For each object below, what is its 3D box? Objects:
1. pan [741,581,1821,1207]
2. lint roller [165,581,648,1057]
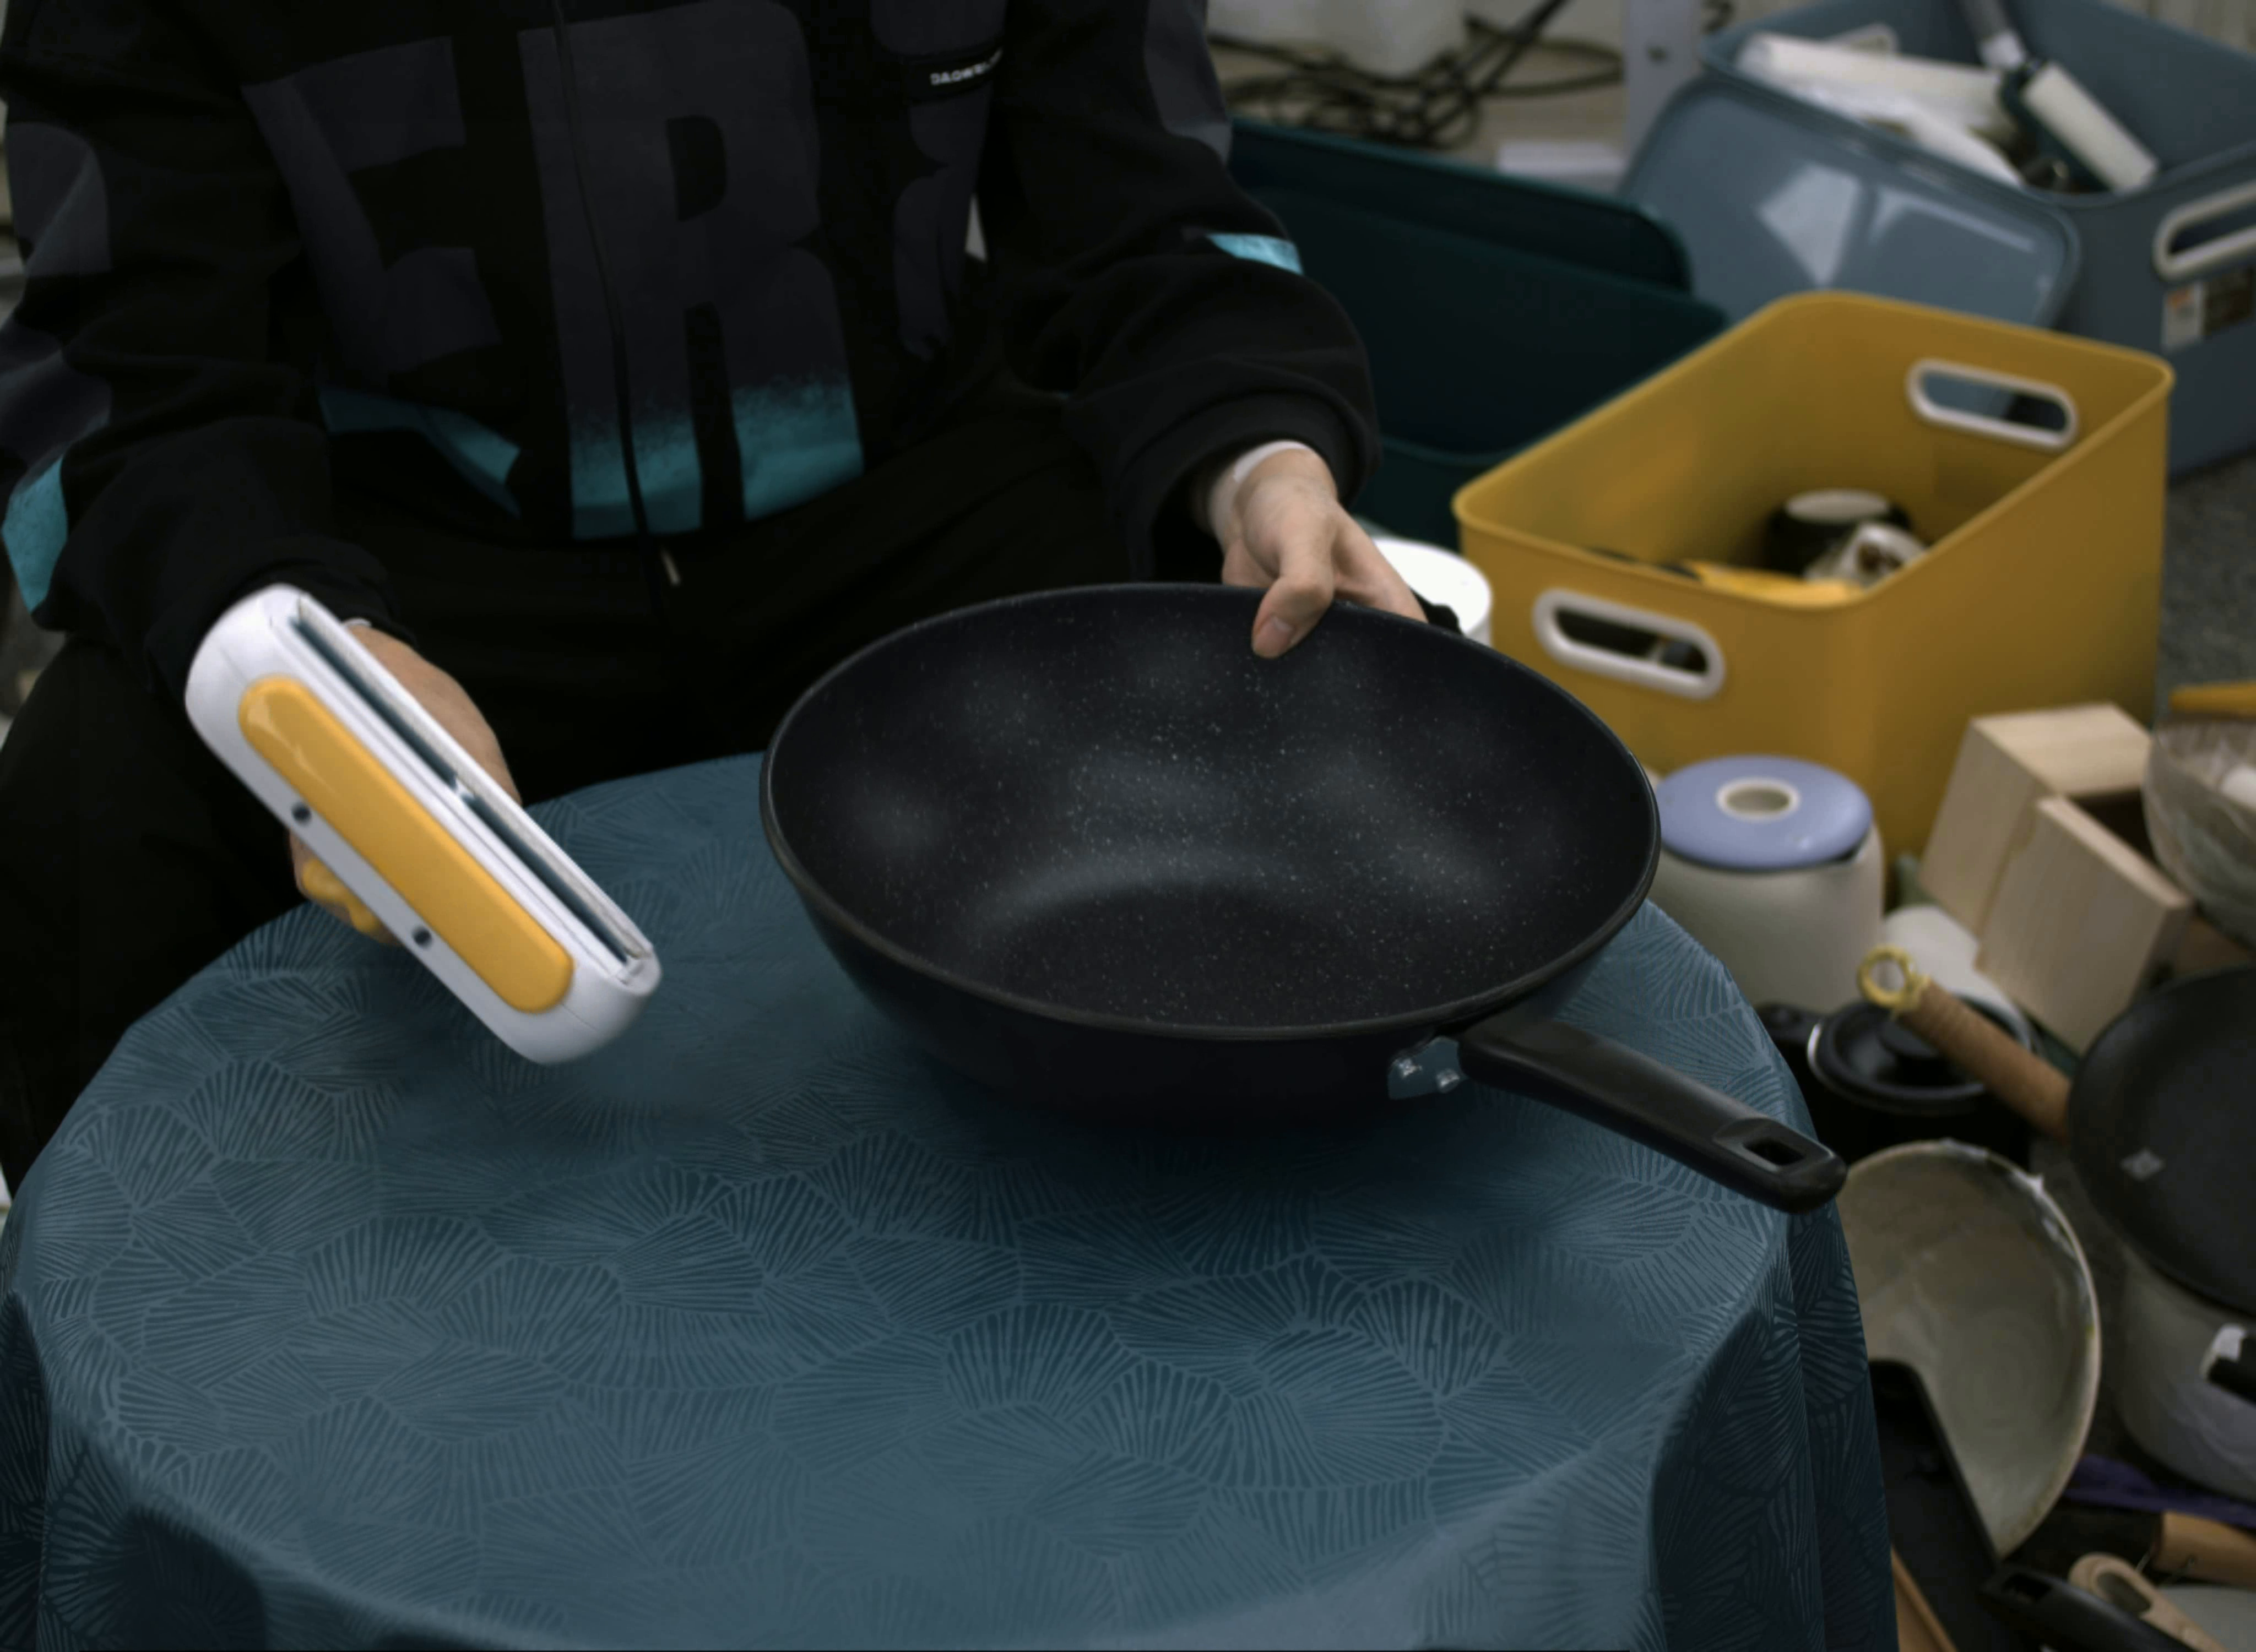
[{"bbox_3d":[0.068,0.050,1.876,0.312,0.110,0.479,-18,35,-30],"label":"pan"},{"bbox_3d":[-0.242,-0.003,1.943,0.192,0.074,0.193,41,8,-2],"label":"lint roller"}]
